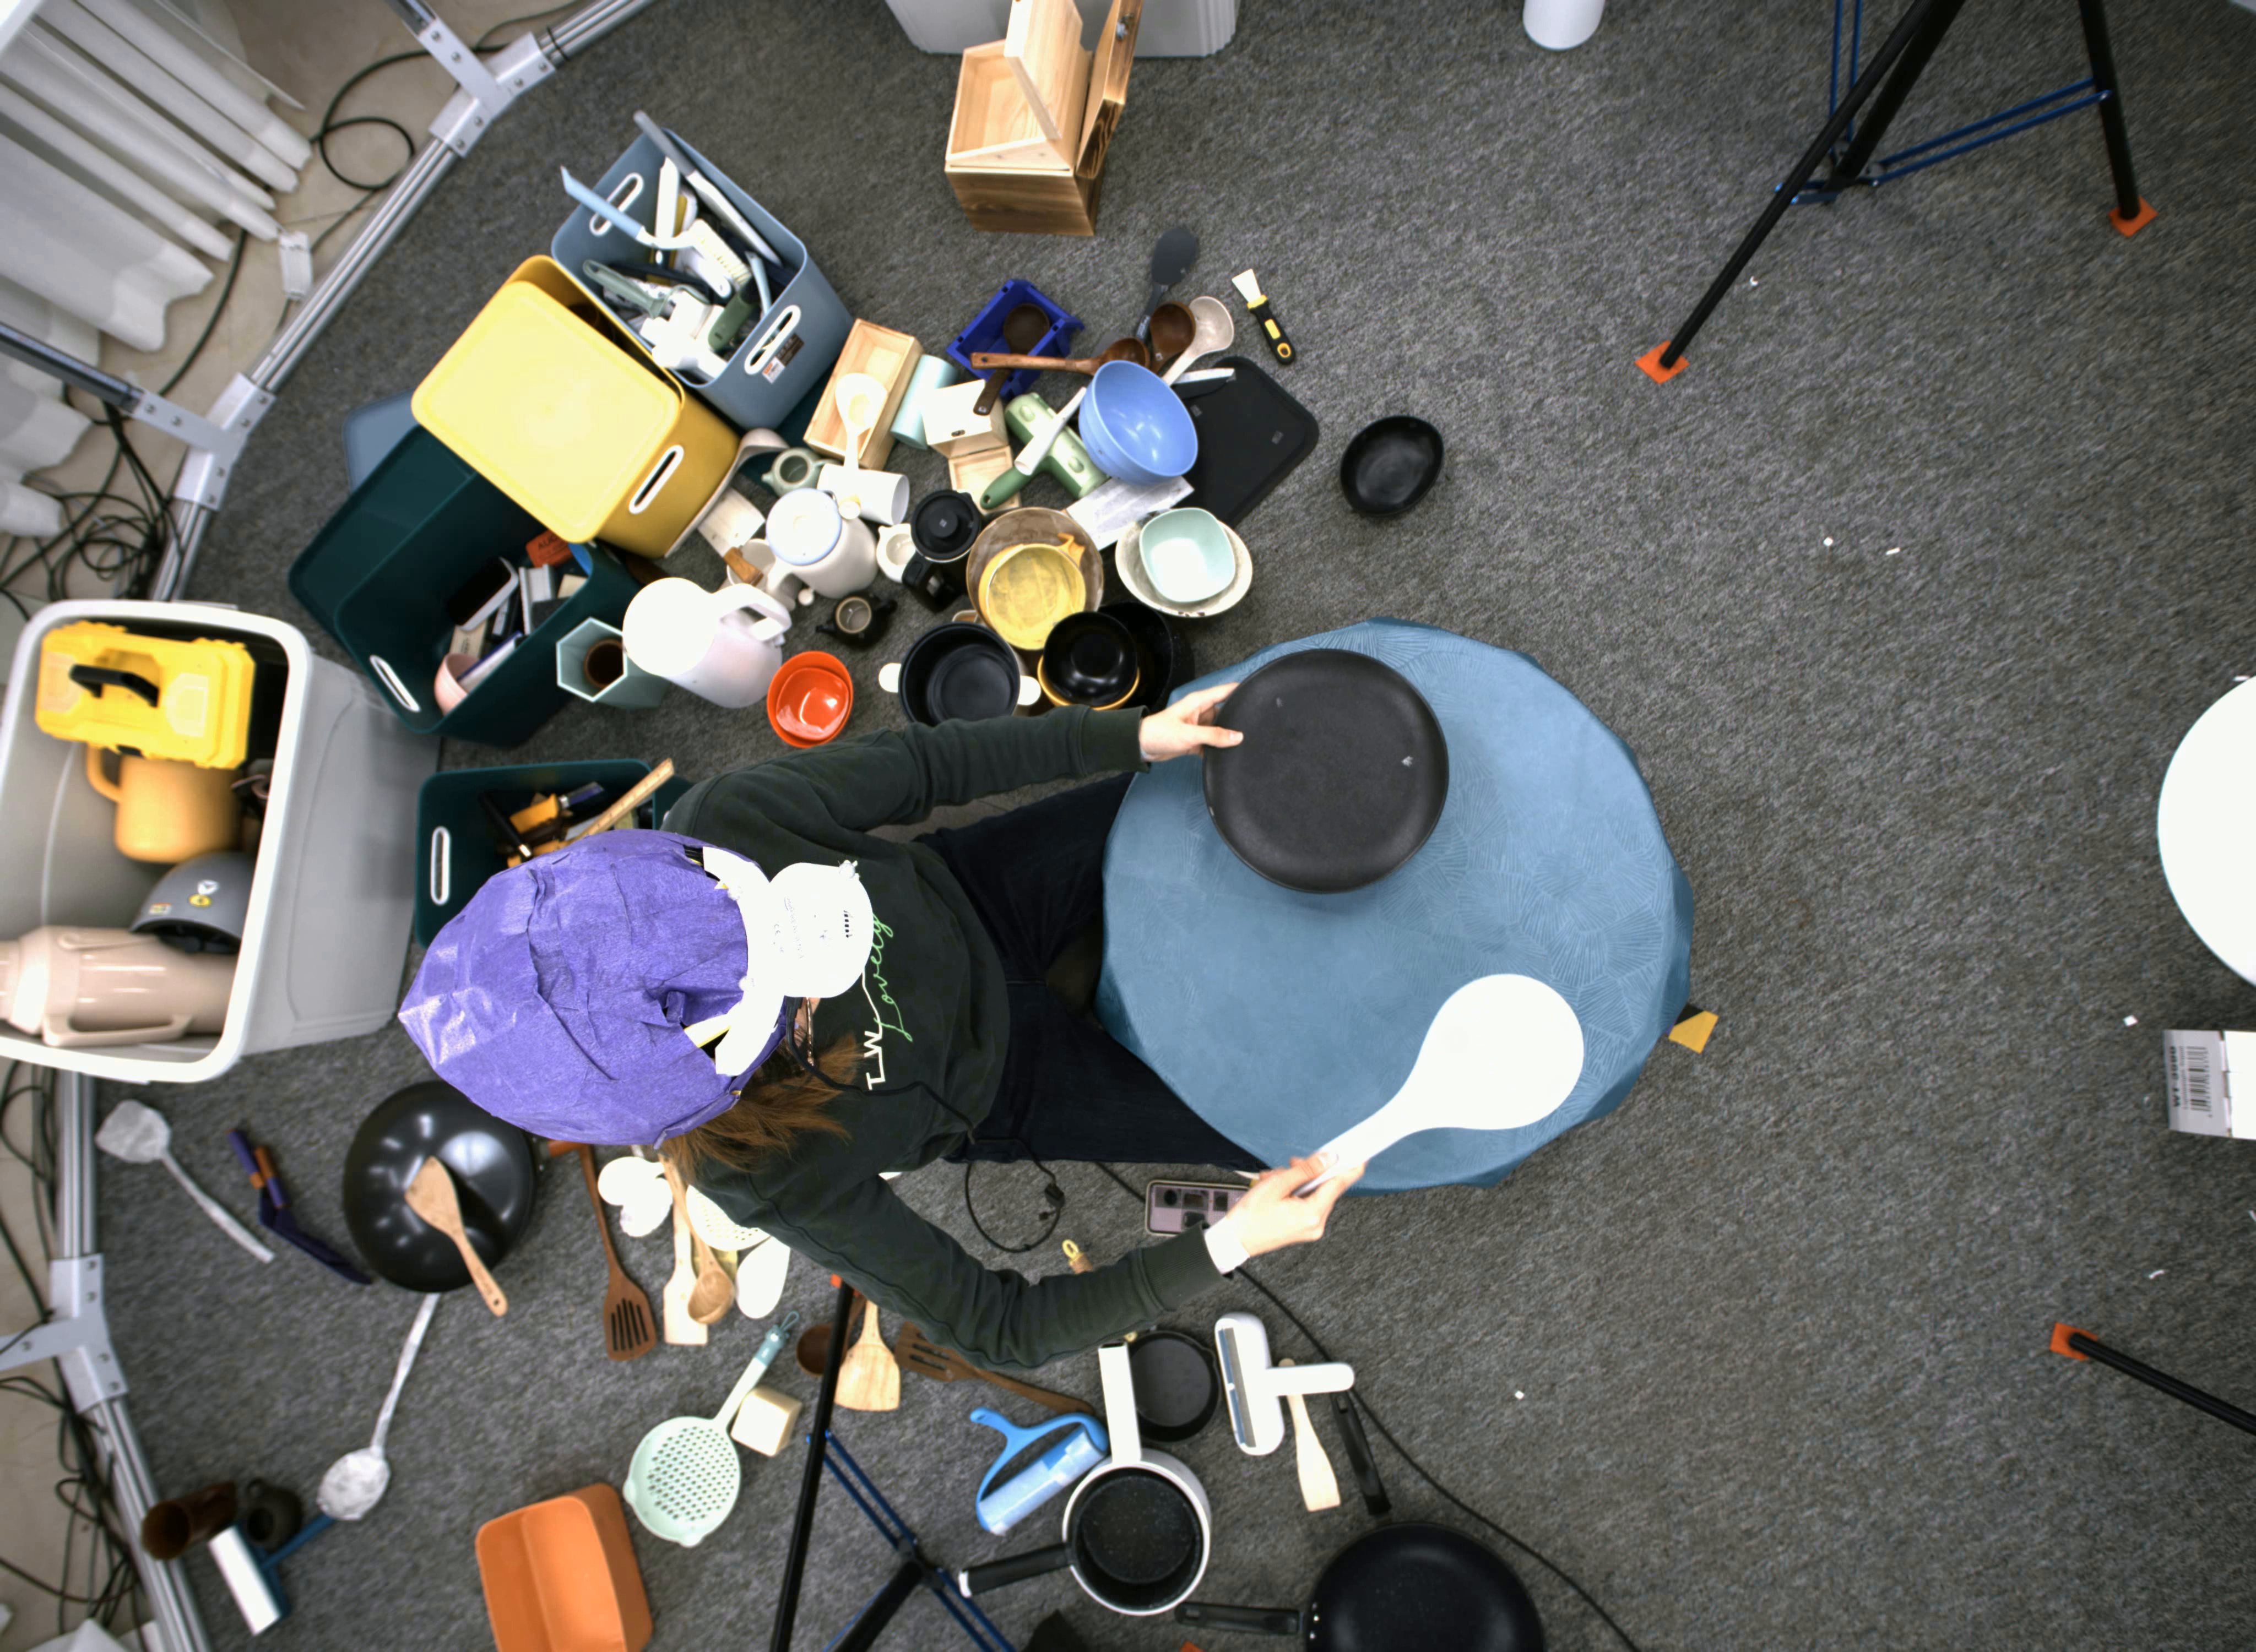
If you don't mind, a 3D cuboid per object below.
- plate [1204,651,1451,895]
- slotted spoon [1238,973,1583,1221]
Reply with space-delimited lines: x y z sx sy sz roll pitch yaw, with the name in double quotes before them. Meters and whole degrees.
"plate" 0.198 -0.054 1.377 0.245 0.023 0.244 0 93 10
"slotted spoon" 0.249 0.257 1.249 0.352 0.046 0.133 -32 56 8
